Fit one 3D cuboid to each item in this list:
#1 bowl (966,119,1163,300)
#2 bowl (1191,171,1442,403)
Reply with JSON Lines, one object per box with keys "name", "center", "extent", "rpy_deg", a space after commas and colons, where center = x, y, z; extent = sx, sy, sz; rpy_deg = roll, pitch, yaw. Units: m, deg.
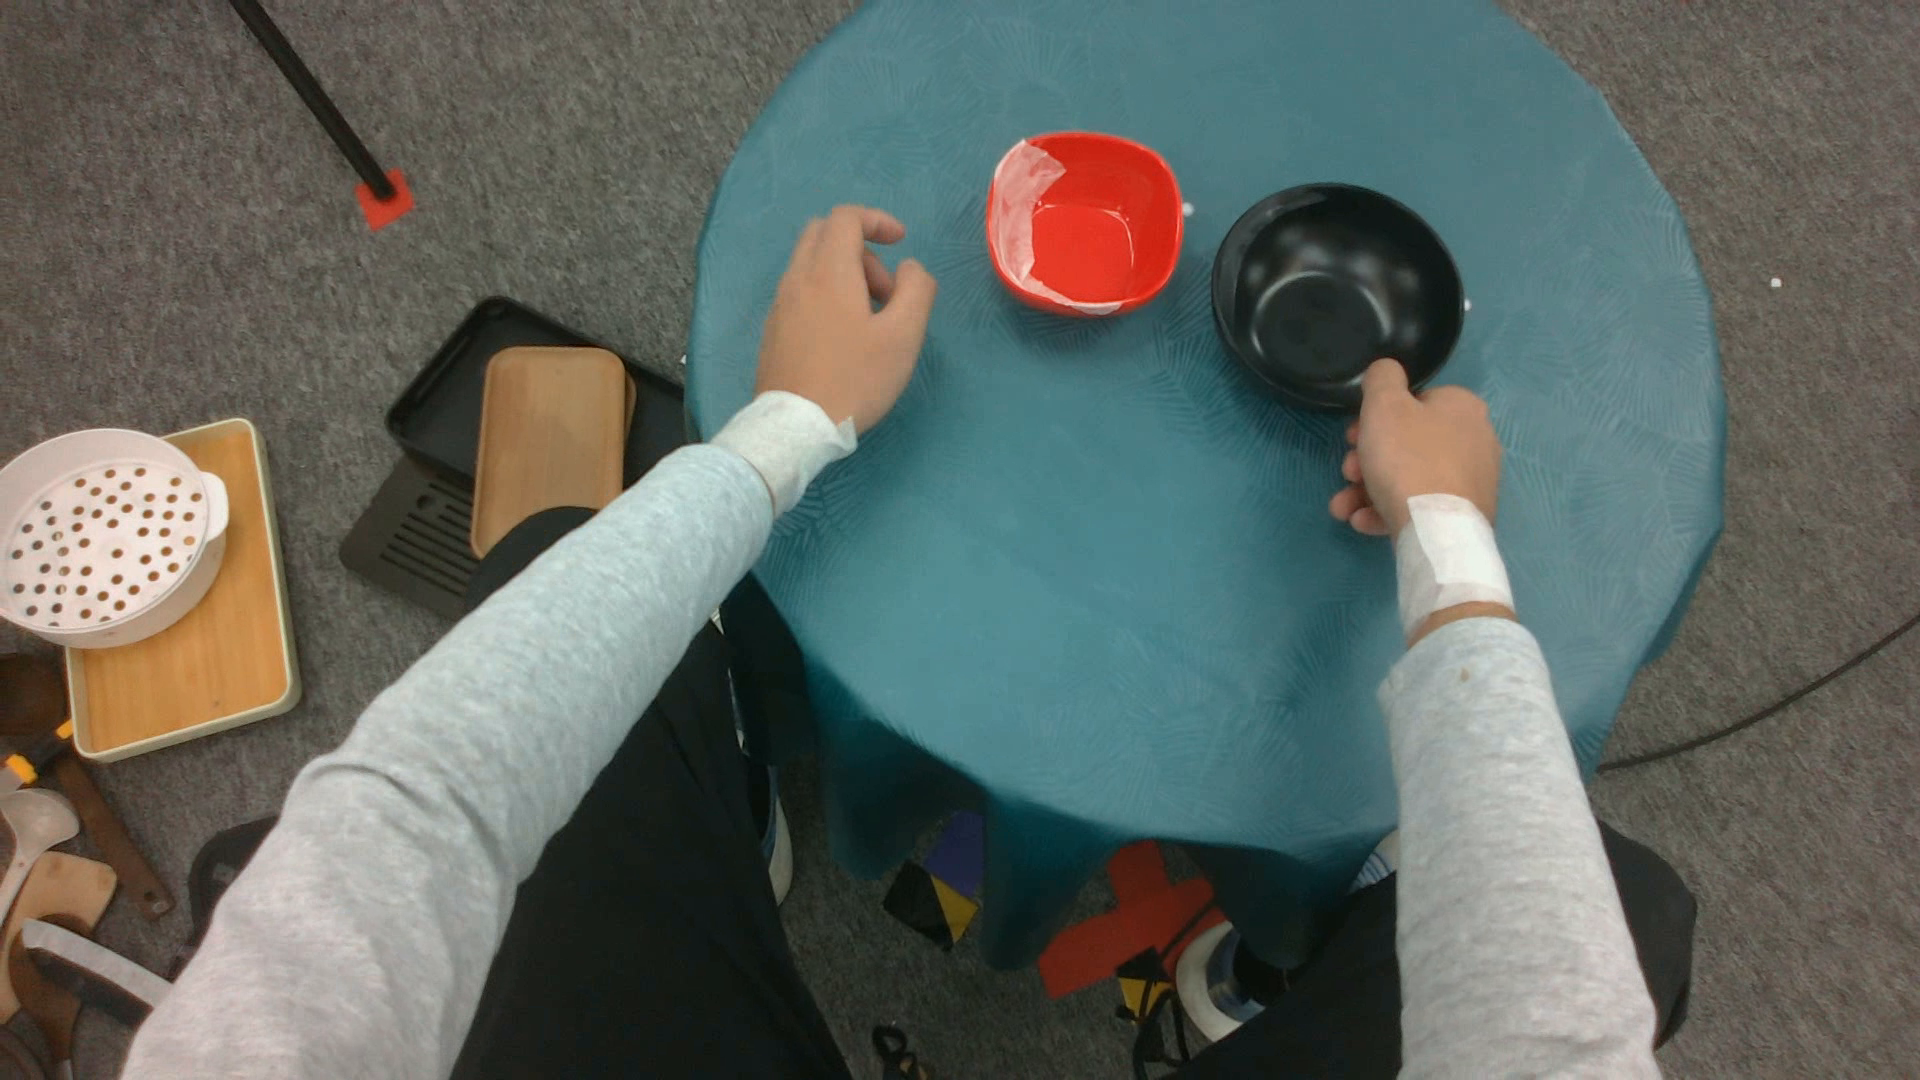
{"name": "bowl", "center": [0.057, -0.180, 0.788], "extent": [0.119, 0.051, 0.119], "rpy_deg": [1, 70, -3]}
{"name": "bowl", "center": [0.197, -0.137, 0.783], "extent": [0.140, 0.049, 0.140], "rpy_deg": [0, 74, -1]}
